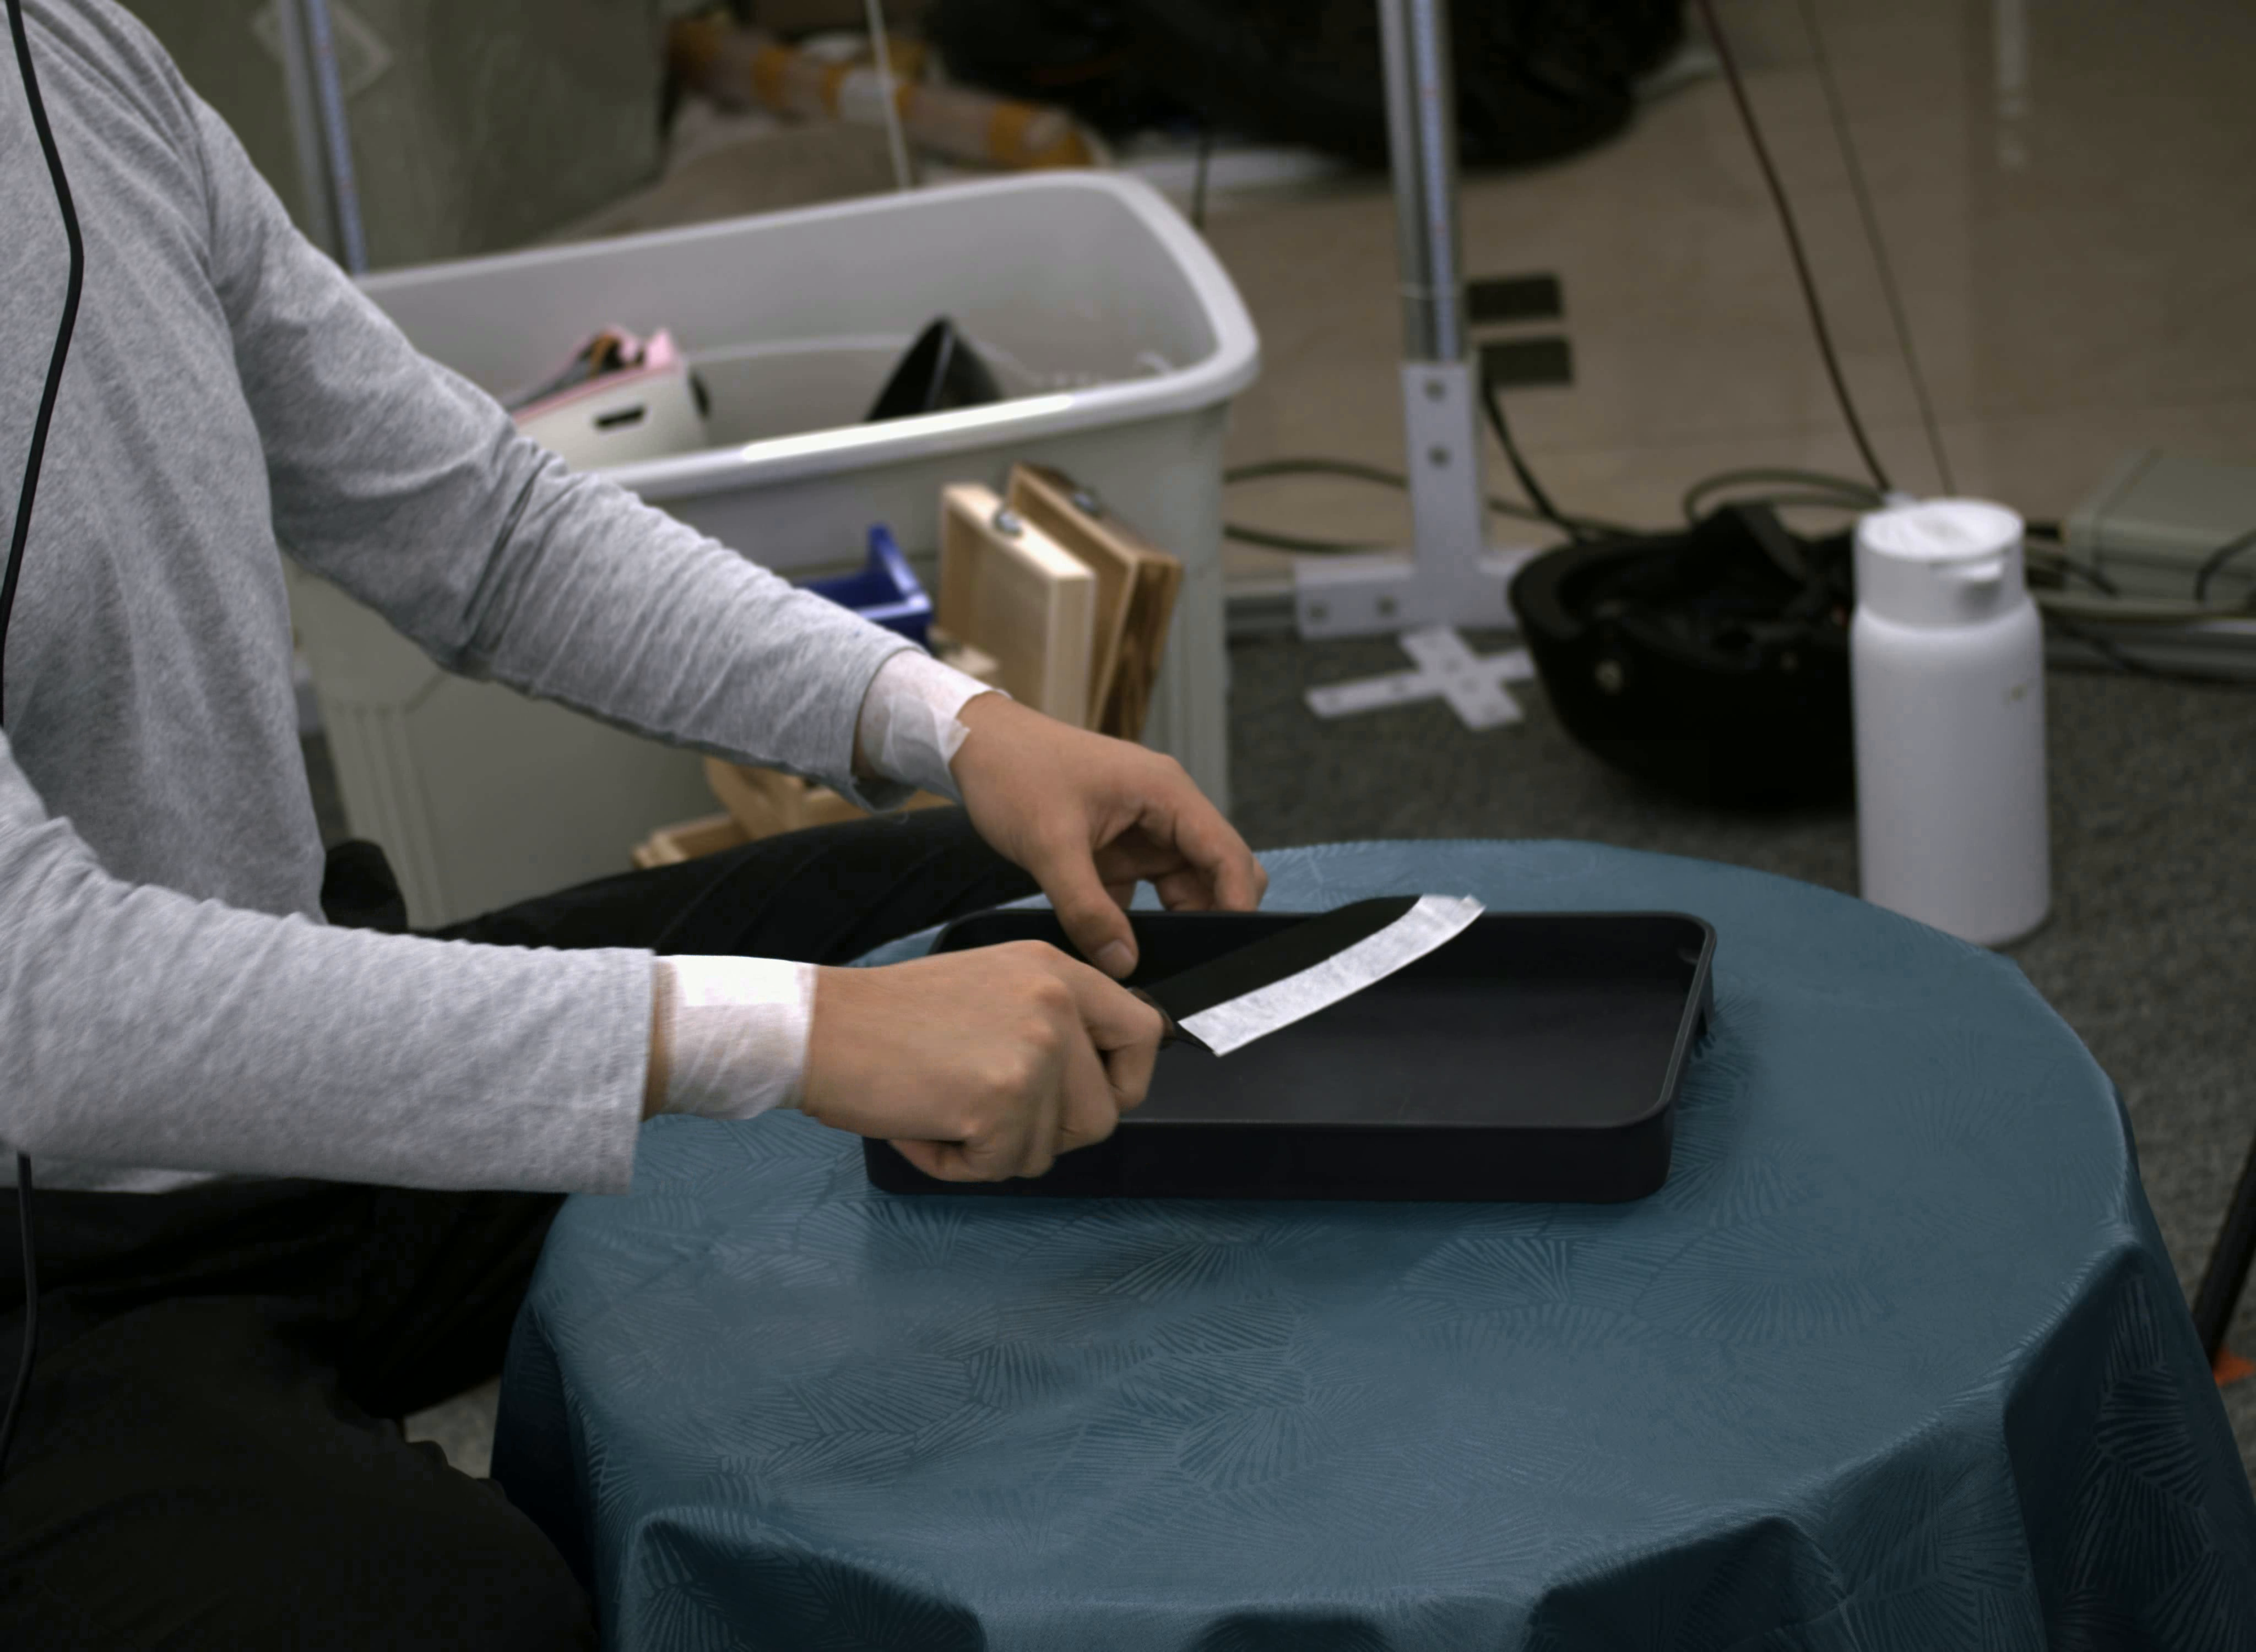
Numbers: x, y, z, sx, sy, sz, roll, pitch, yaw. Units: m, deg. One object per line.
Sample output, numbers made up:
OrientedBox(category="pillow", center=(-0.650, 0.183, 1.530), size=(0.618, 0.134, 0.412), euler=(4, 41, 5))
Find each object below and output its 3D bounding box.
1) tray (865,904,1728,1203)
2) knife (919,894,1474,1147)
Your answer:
OrientedBox(category="tray", center=(0.069, 0.087, 2.203), size=(0.317, 0.037, 0.181), euler=(-1, 25, 12))
OrientedBox(category="knife", center=(0.031, 0.067, 2.083), size=(0.287, 0.020, 0.050), euler=(-20, 45, -43))
